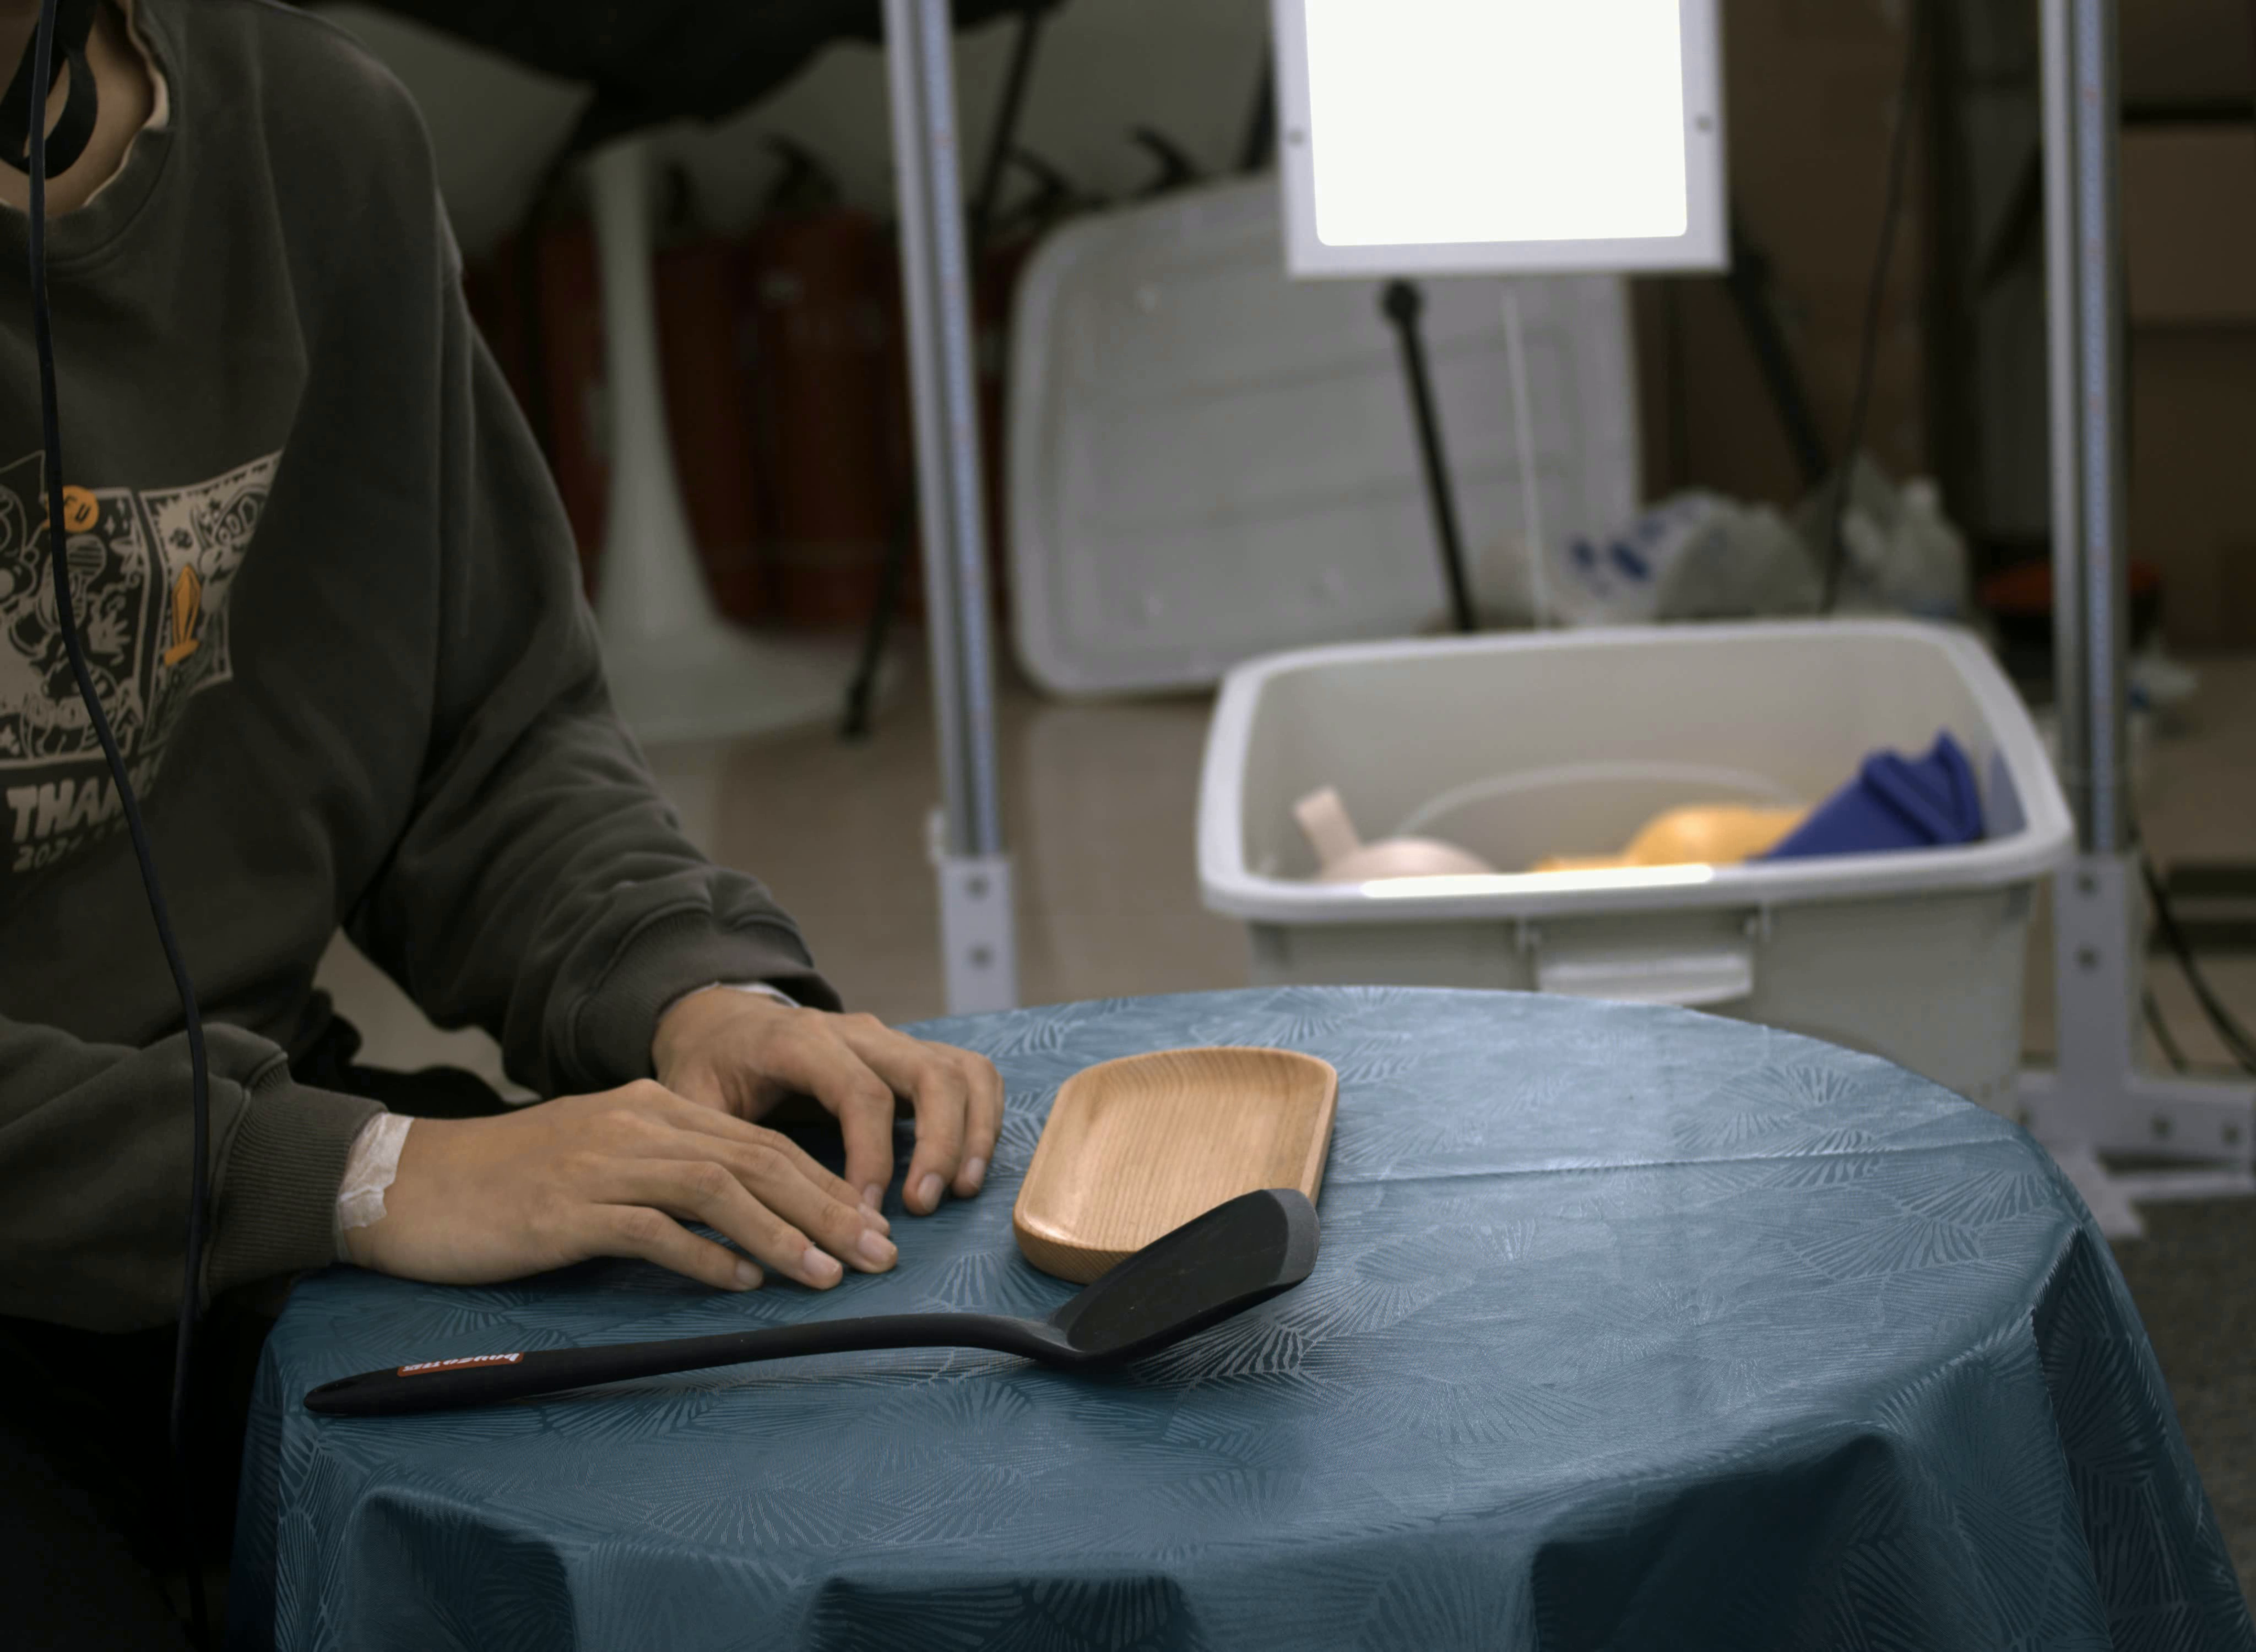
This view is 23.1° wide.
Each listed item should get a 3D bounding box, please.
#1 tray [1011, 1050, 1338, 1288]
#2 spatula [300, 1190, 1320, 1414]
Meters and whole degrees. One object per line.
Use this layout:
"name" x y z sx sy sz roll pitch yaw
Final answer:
"tray" 0.019 0.116 1.897 0.102 0.020 0.229 -4 15 8
"spatula" -0.100 0.156 1.737 0.326 0.040 0.099 -4 12 3
